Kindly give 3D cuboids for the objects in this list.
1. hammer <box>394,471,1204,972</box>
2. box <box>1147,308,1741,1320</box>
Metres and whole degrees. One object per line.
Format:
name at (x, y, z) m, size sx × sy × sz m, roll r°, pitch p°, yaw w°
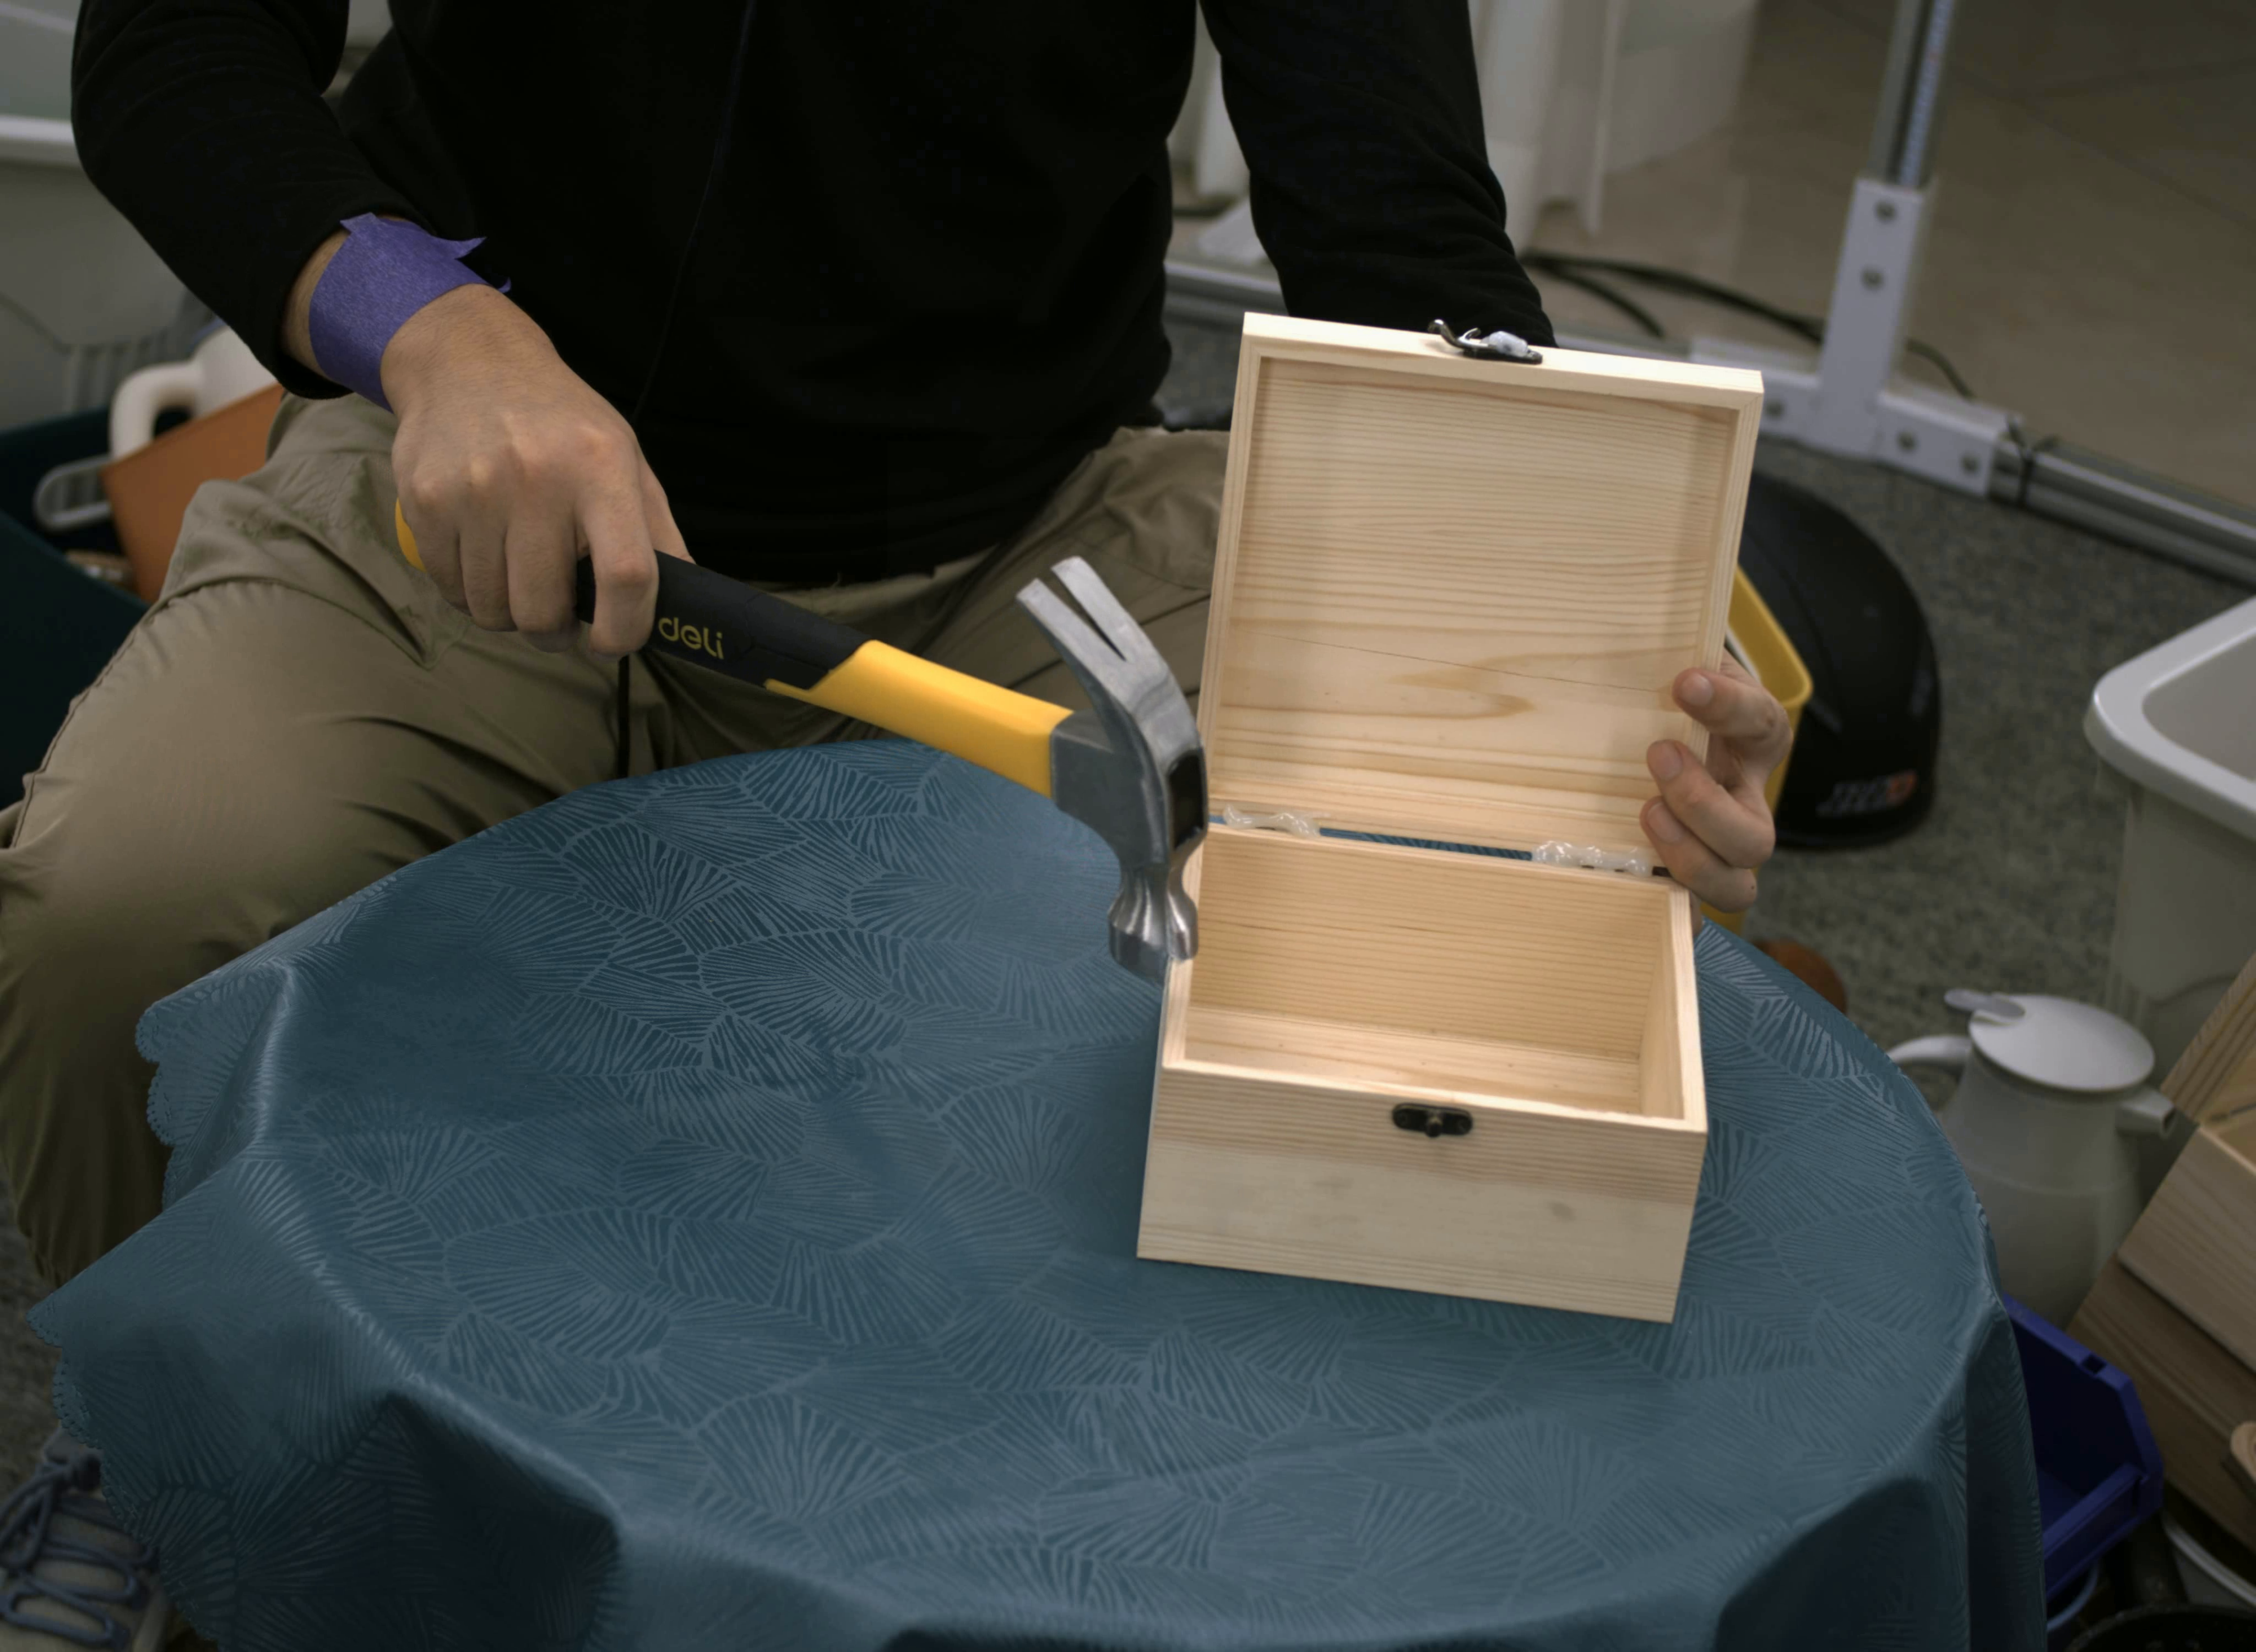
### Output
hammer at (-0.117, -0.060, 1.807) m, size 0.340 × 0.131 × 0.032 m, roll 20°, pitch 37°, yaw 31°
box at (0.111, -0.011, 1.820) m, size 0.181 × 0.252 × 0.266 m, roll 5°, pitch 27°, yaw 1°
